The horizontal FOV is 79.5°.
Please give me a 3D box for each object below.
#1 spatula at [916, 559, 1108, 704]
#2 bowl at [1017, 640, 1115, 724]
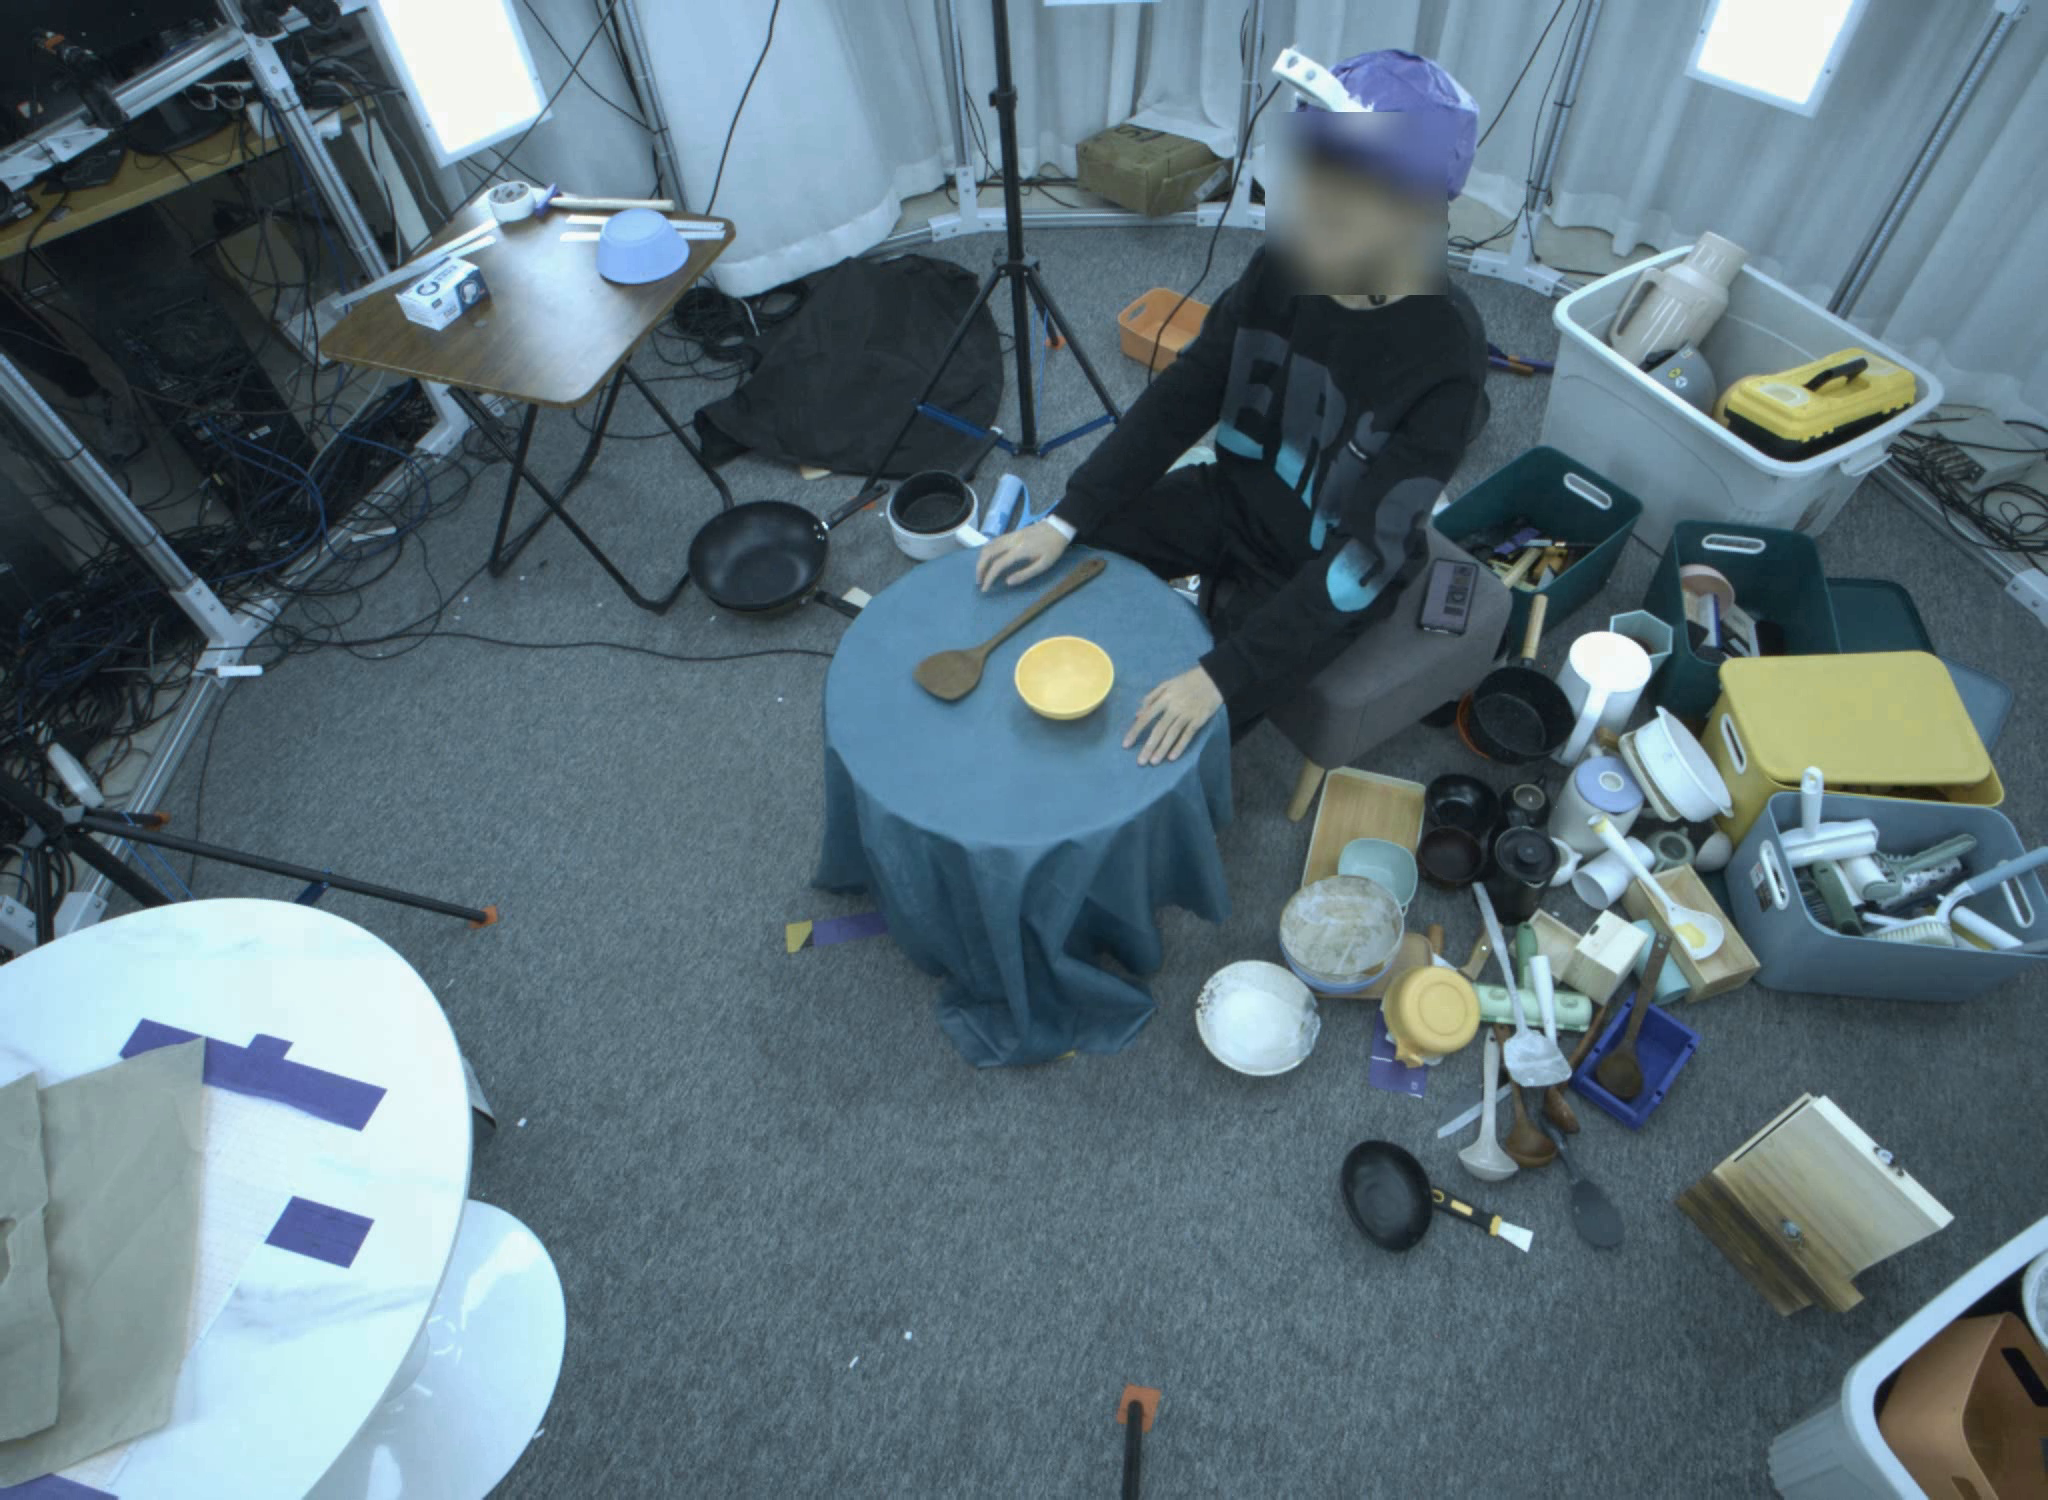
[{"bbox_3d":[-0.006,-0.198,1.929,0.389,0.016,0.094,-39,63,-23],"label":"spatula"},{"bbox_3d":[0.062,-0.090,1.825,0.145,0.060,0.144,1,56,0],"label":"bowl"}]
